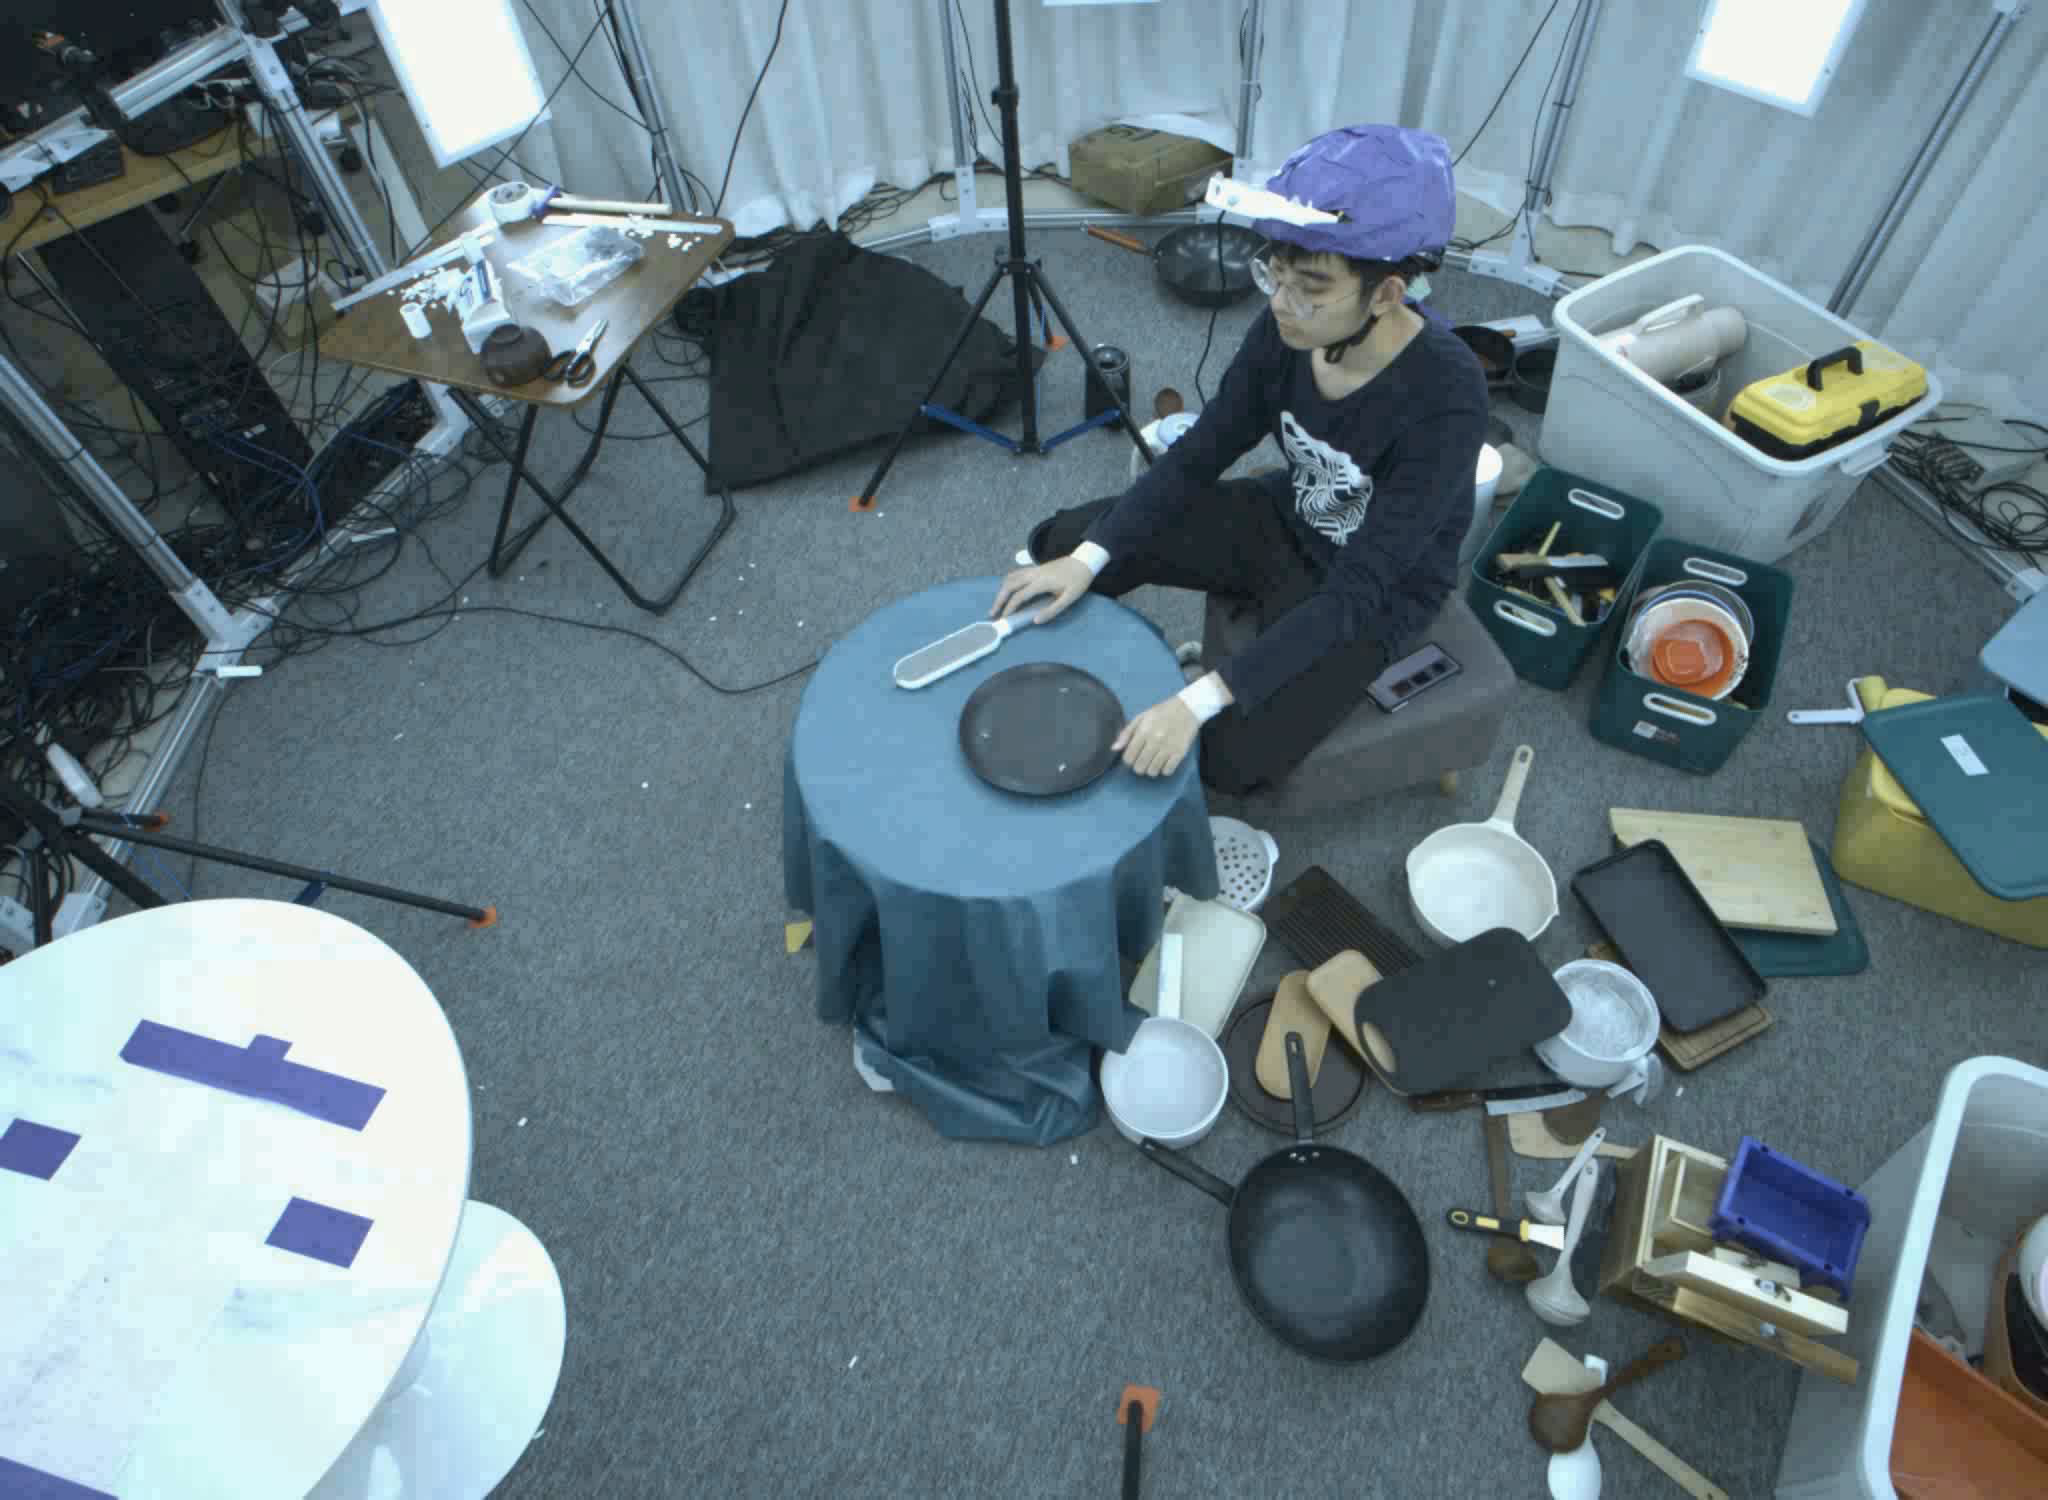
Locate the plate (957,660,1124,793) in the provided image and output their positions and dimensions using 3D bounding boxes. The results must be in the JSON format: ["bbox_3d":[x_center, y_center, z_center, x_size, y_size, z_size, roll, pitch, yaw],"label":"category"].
[{"bbox_3d":[0.024,-0.033,1.804,0.244,0.023,0.242,0,55,1],"label":"plate"}]

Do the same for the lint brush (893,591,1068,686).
[{"bbox_3d":[-0.064,-0.177,1.906,0.311,0.021,0.059,-28,53,-17],"label":"lint brush"}]
